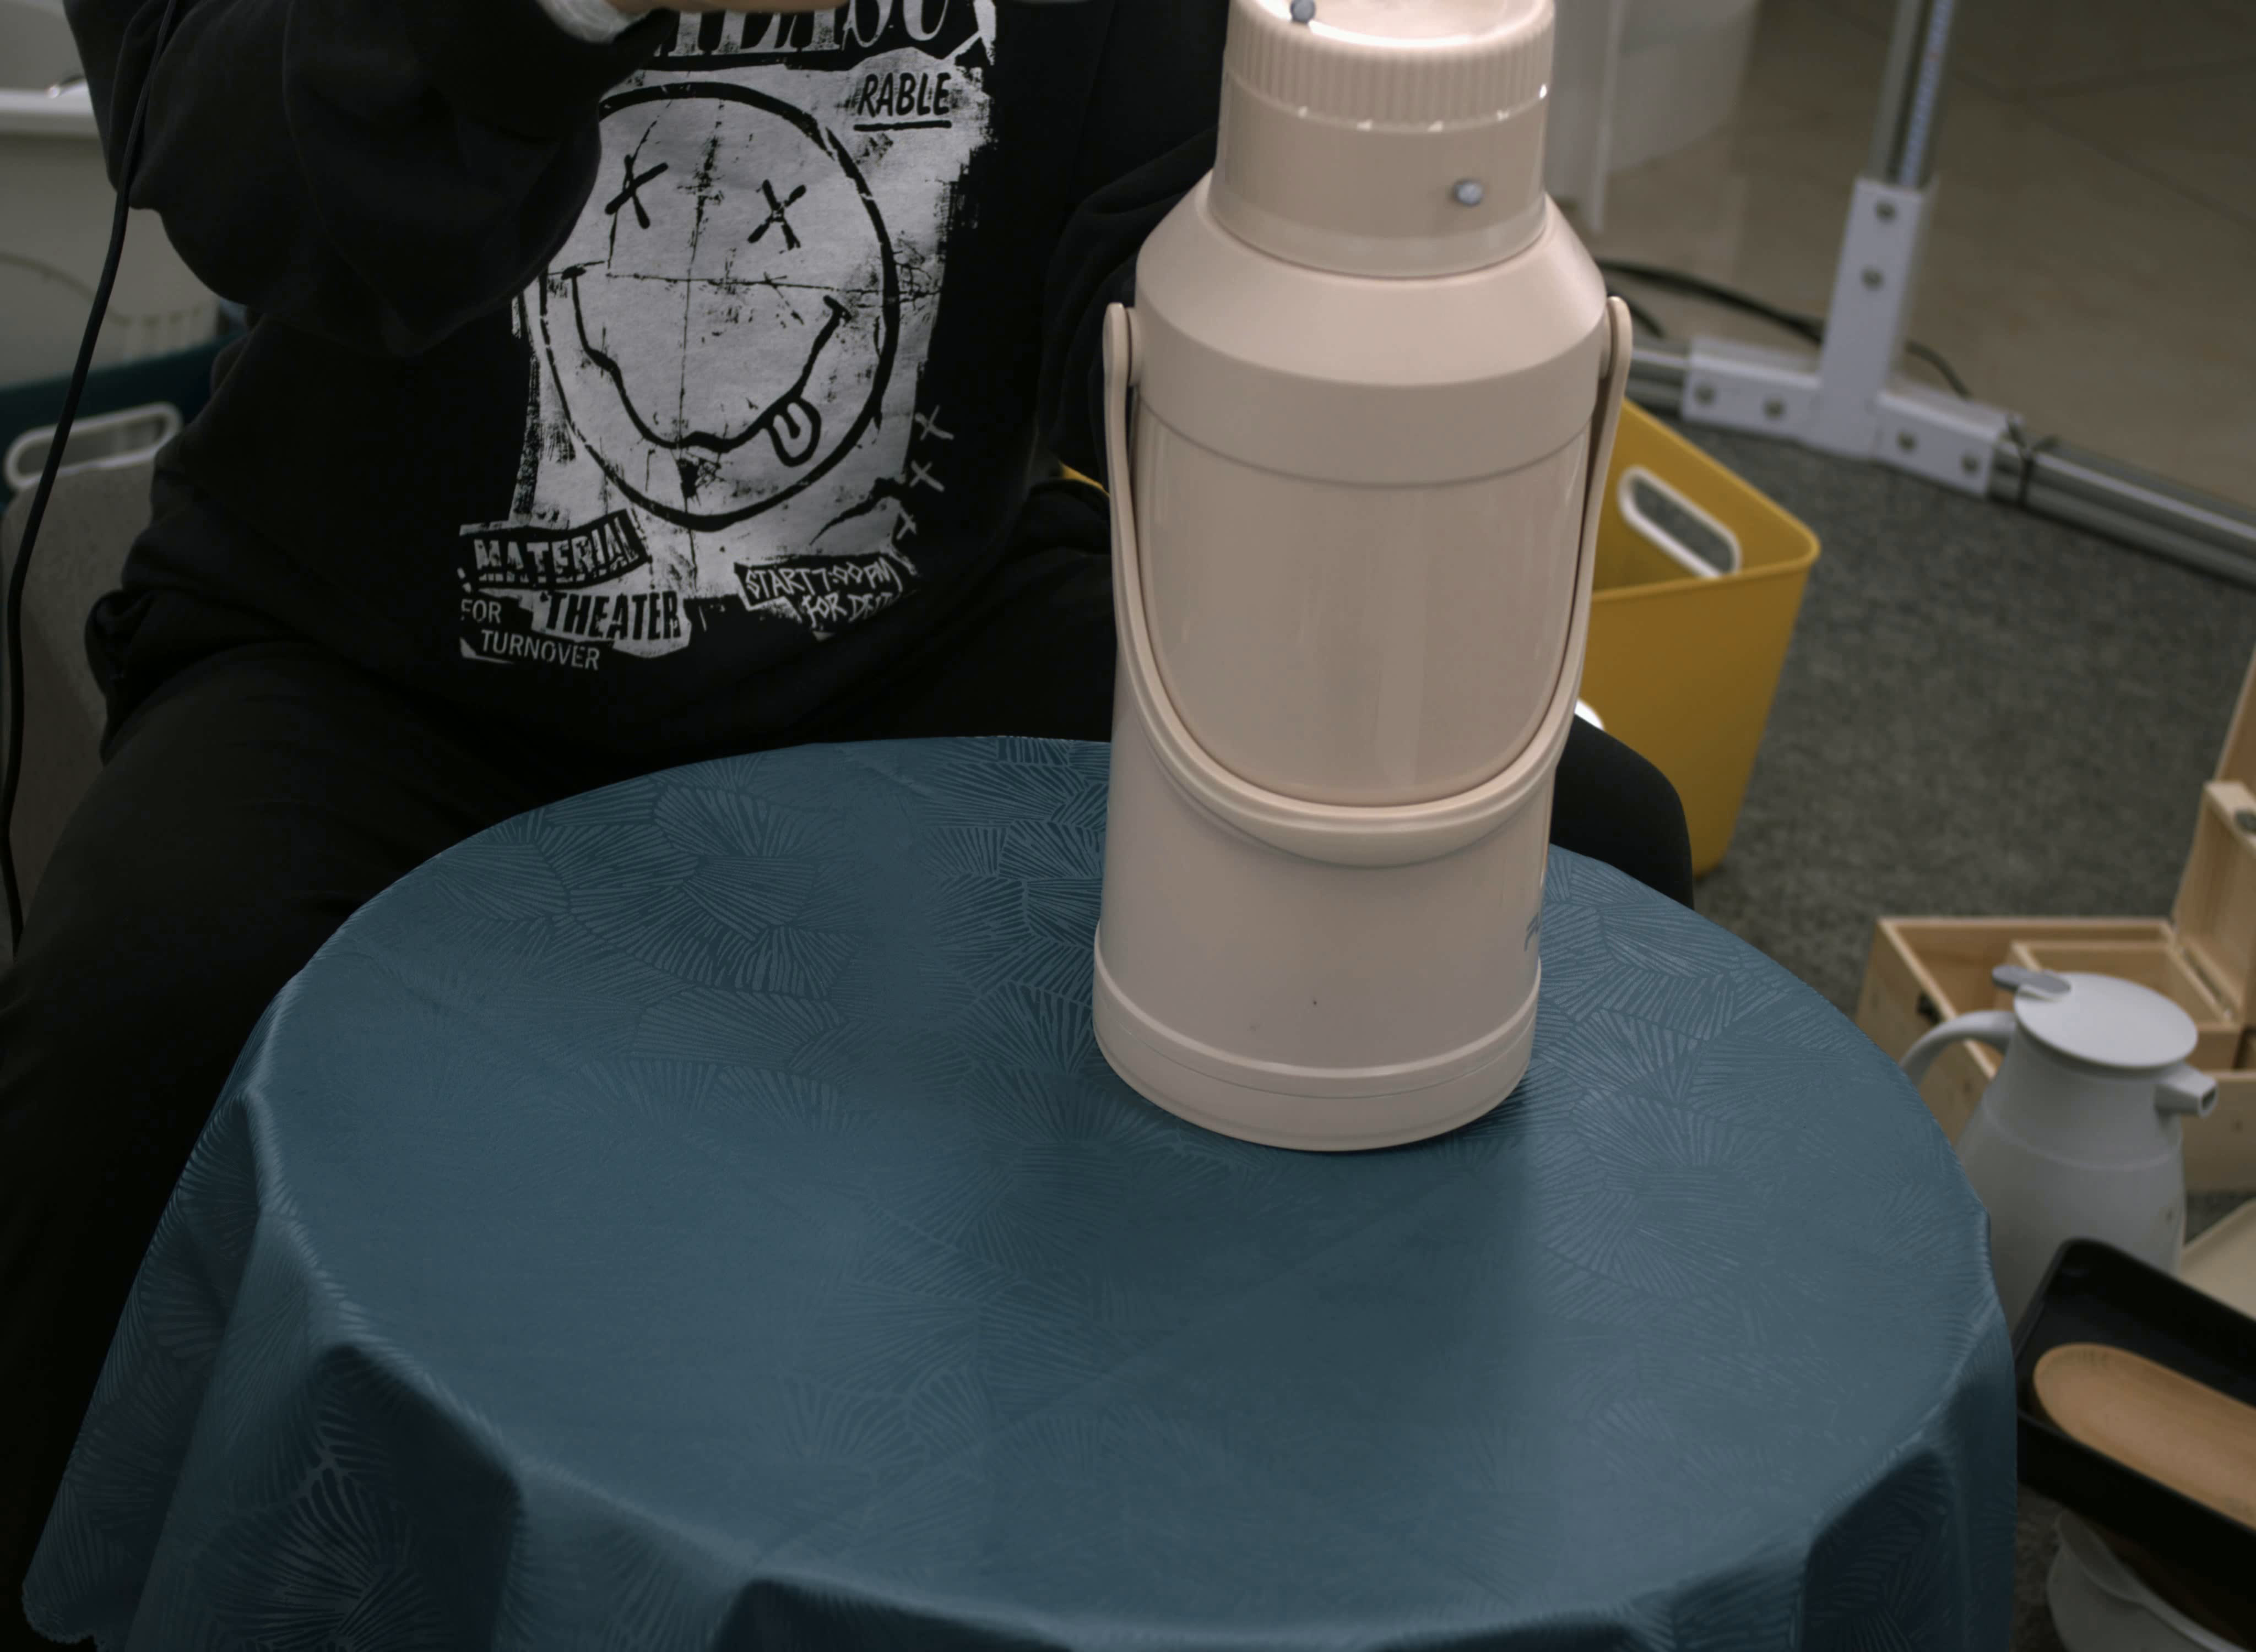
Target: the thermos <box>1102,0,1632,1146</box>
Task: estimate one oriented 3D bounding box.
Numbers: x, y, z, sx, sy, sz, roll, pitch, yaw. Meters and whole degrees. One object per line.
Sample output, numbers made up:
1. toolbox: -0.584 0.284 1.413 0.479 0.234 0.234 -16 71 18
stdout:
1. thermos: 0.076 -0.106 1.823 0.174 0.404 0.209 -3 31 -7
